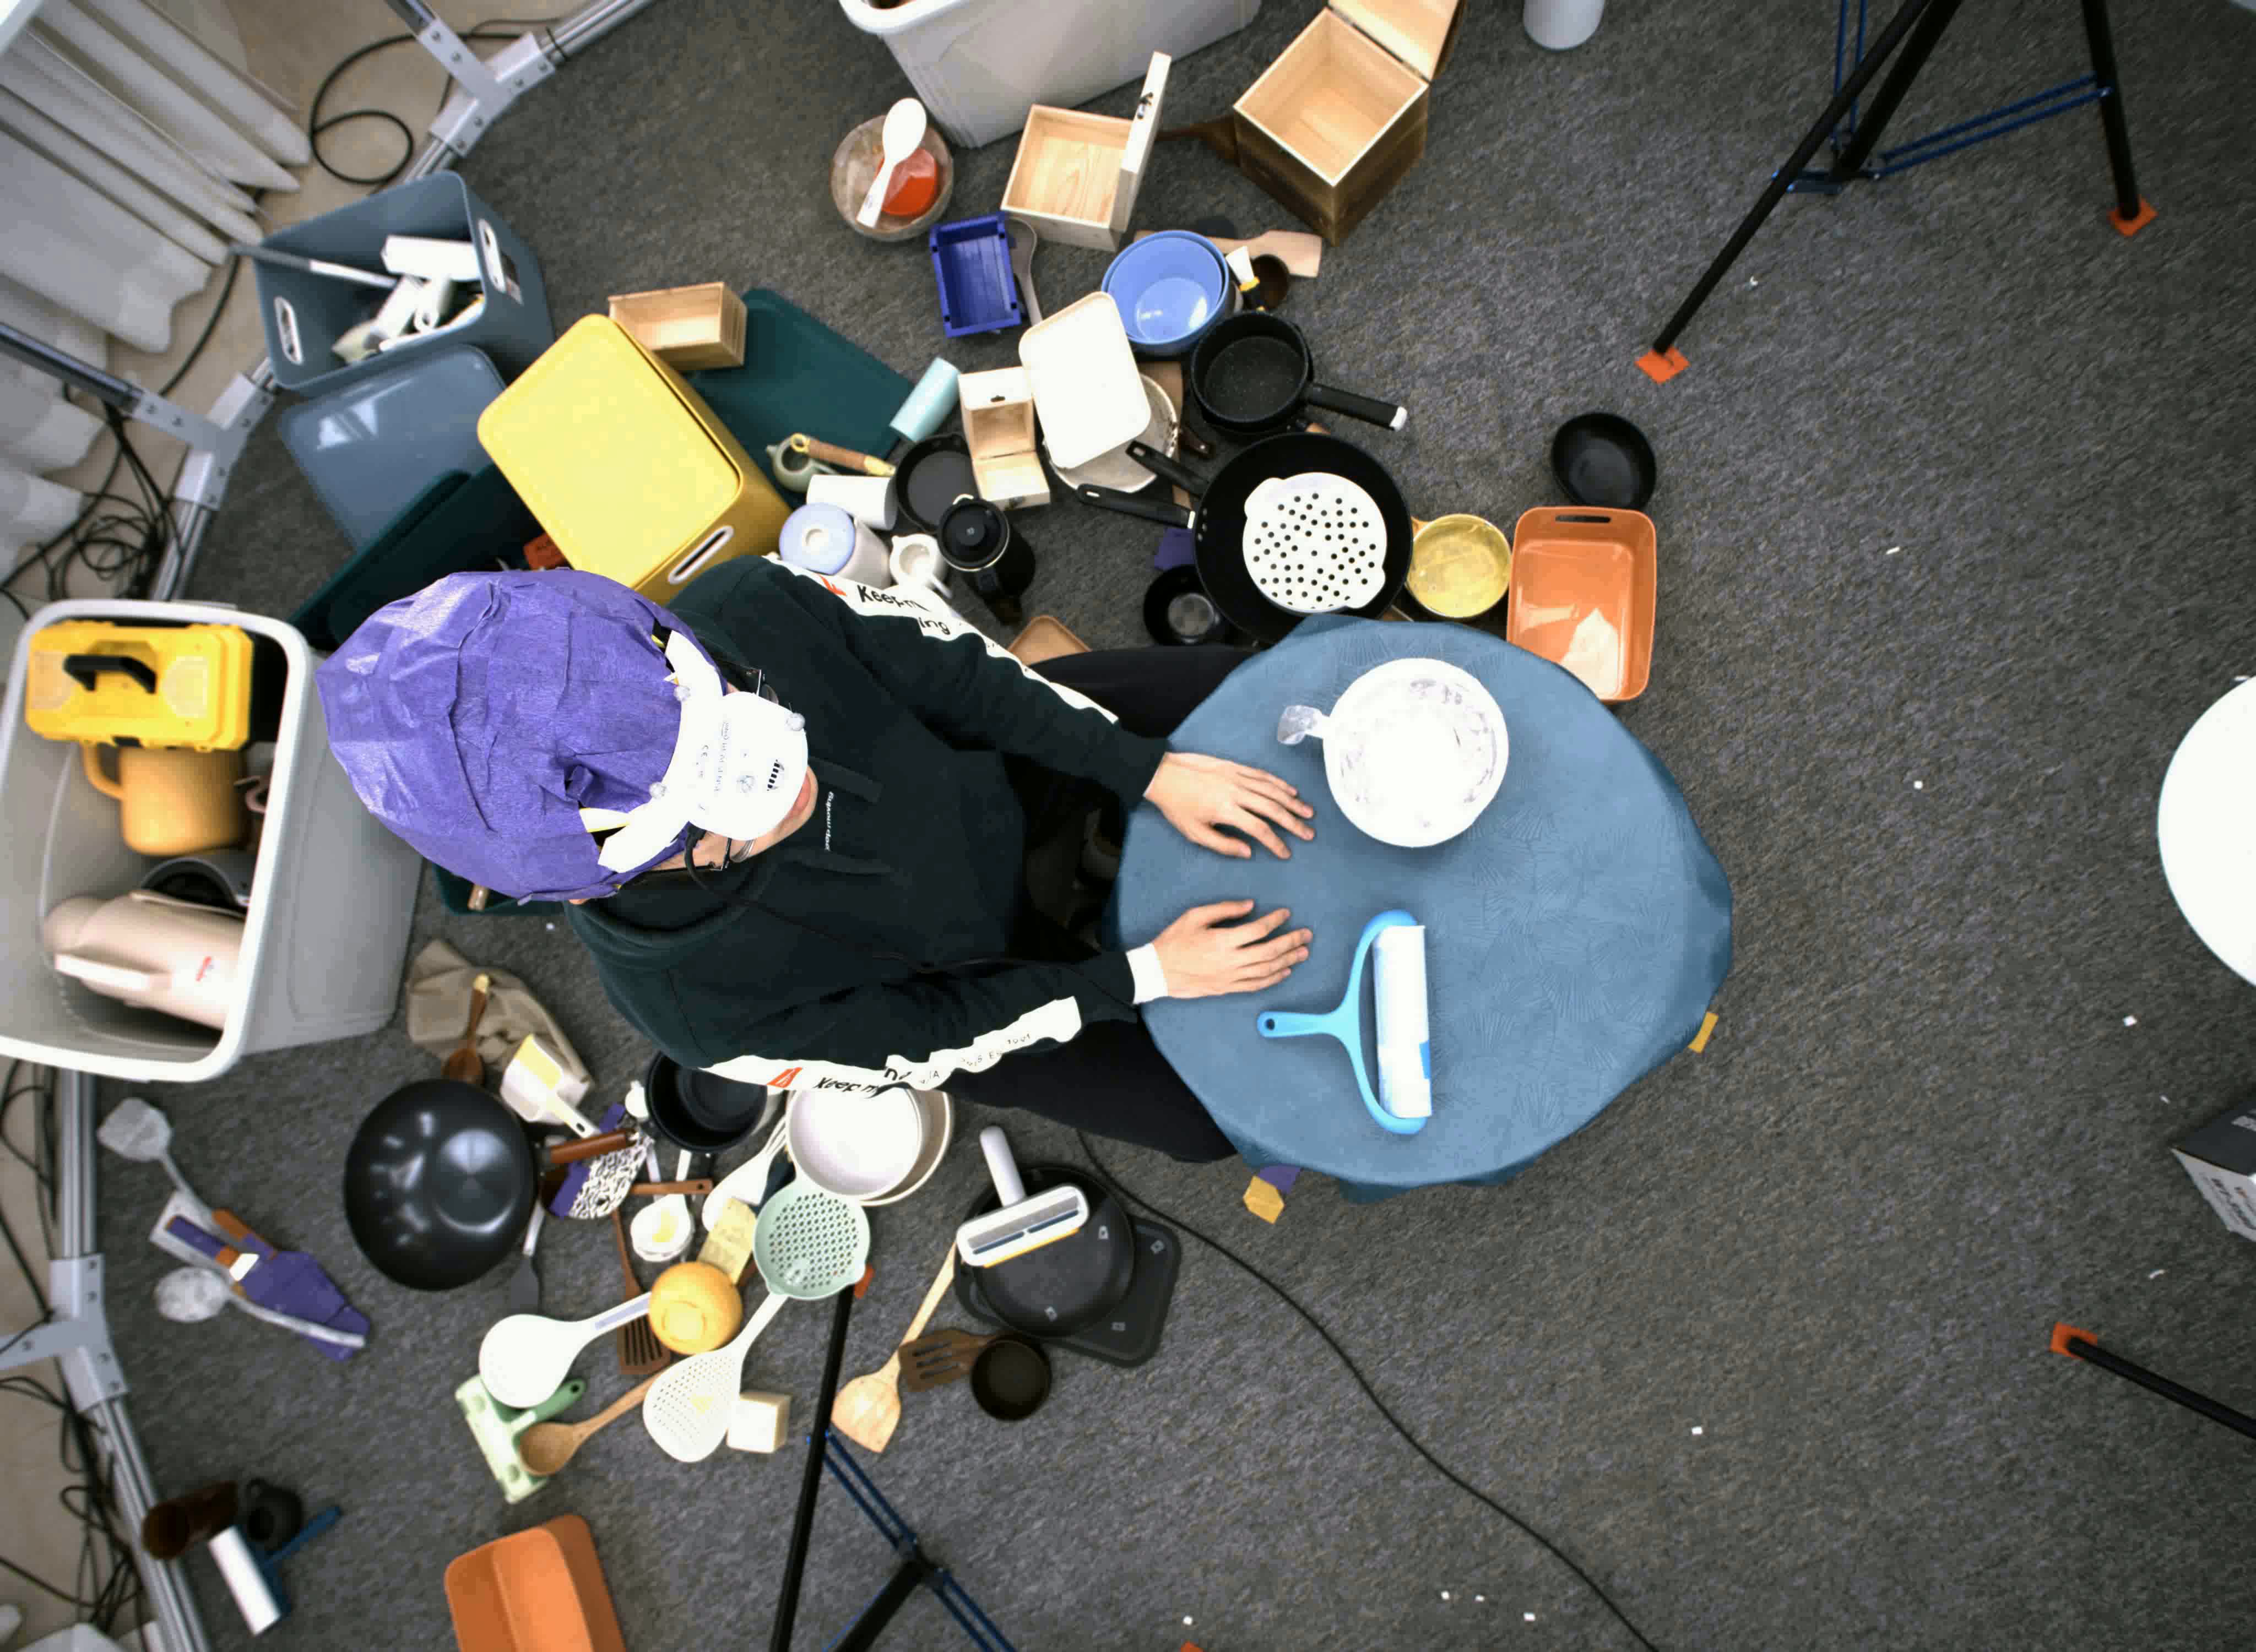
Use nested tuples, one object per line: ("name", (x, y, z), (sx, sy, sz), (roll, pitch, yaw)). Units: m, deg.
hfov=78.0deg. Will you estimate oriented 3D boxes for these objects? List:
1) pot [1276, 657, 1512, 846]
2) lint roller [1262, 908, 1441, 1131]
("pot", (0.262, -0.079, 1.392), (0.234, 0.137, 0.178), (16, 89, 9))
("lint roller", (0.227, 0.204, 1.428), (0.181, 0.068, 0.228), (-7, 88, 9))
